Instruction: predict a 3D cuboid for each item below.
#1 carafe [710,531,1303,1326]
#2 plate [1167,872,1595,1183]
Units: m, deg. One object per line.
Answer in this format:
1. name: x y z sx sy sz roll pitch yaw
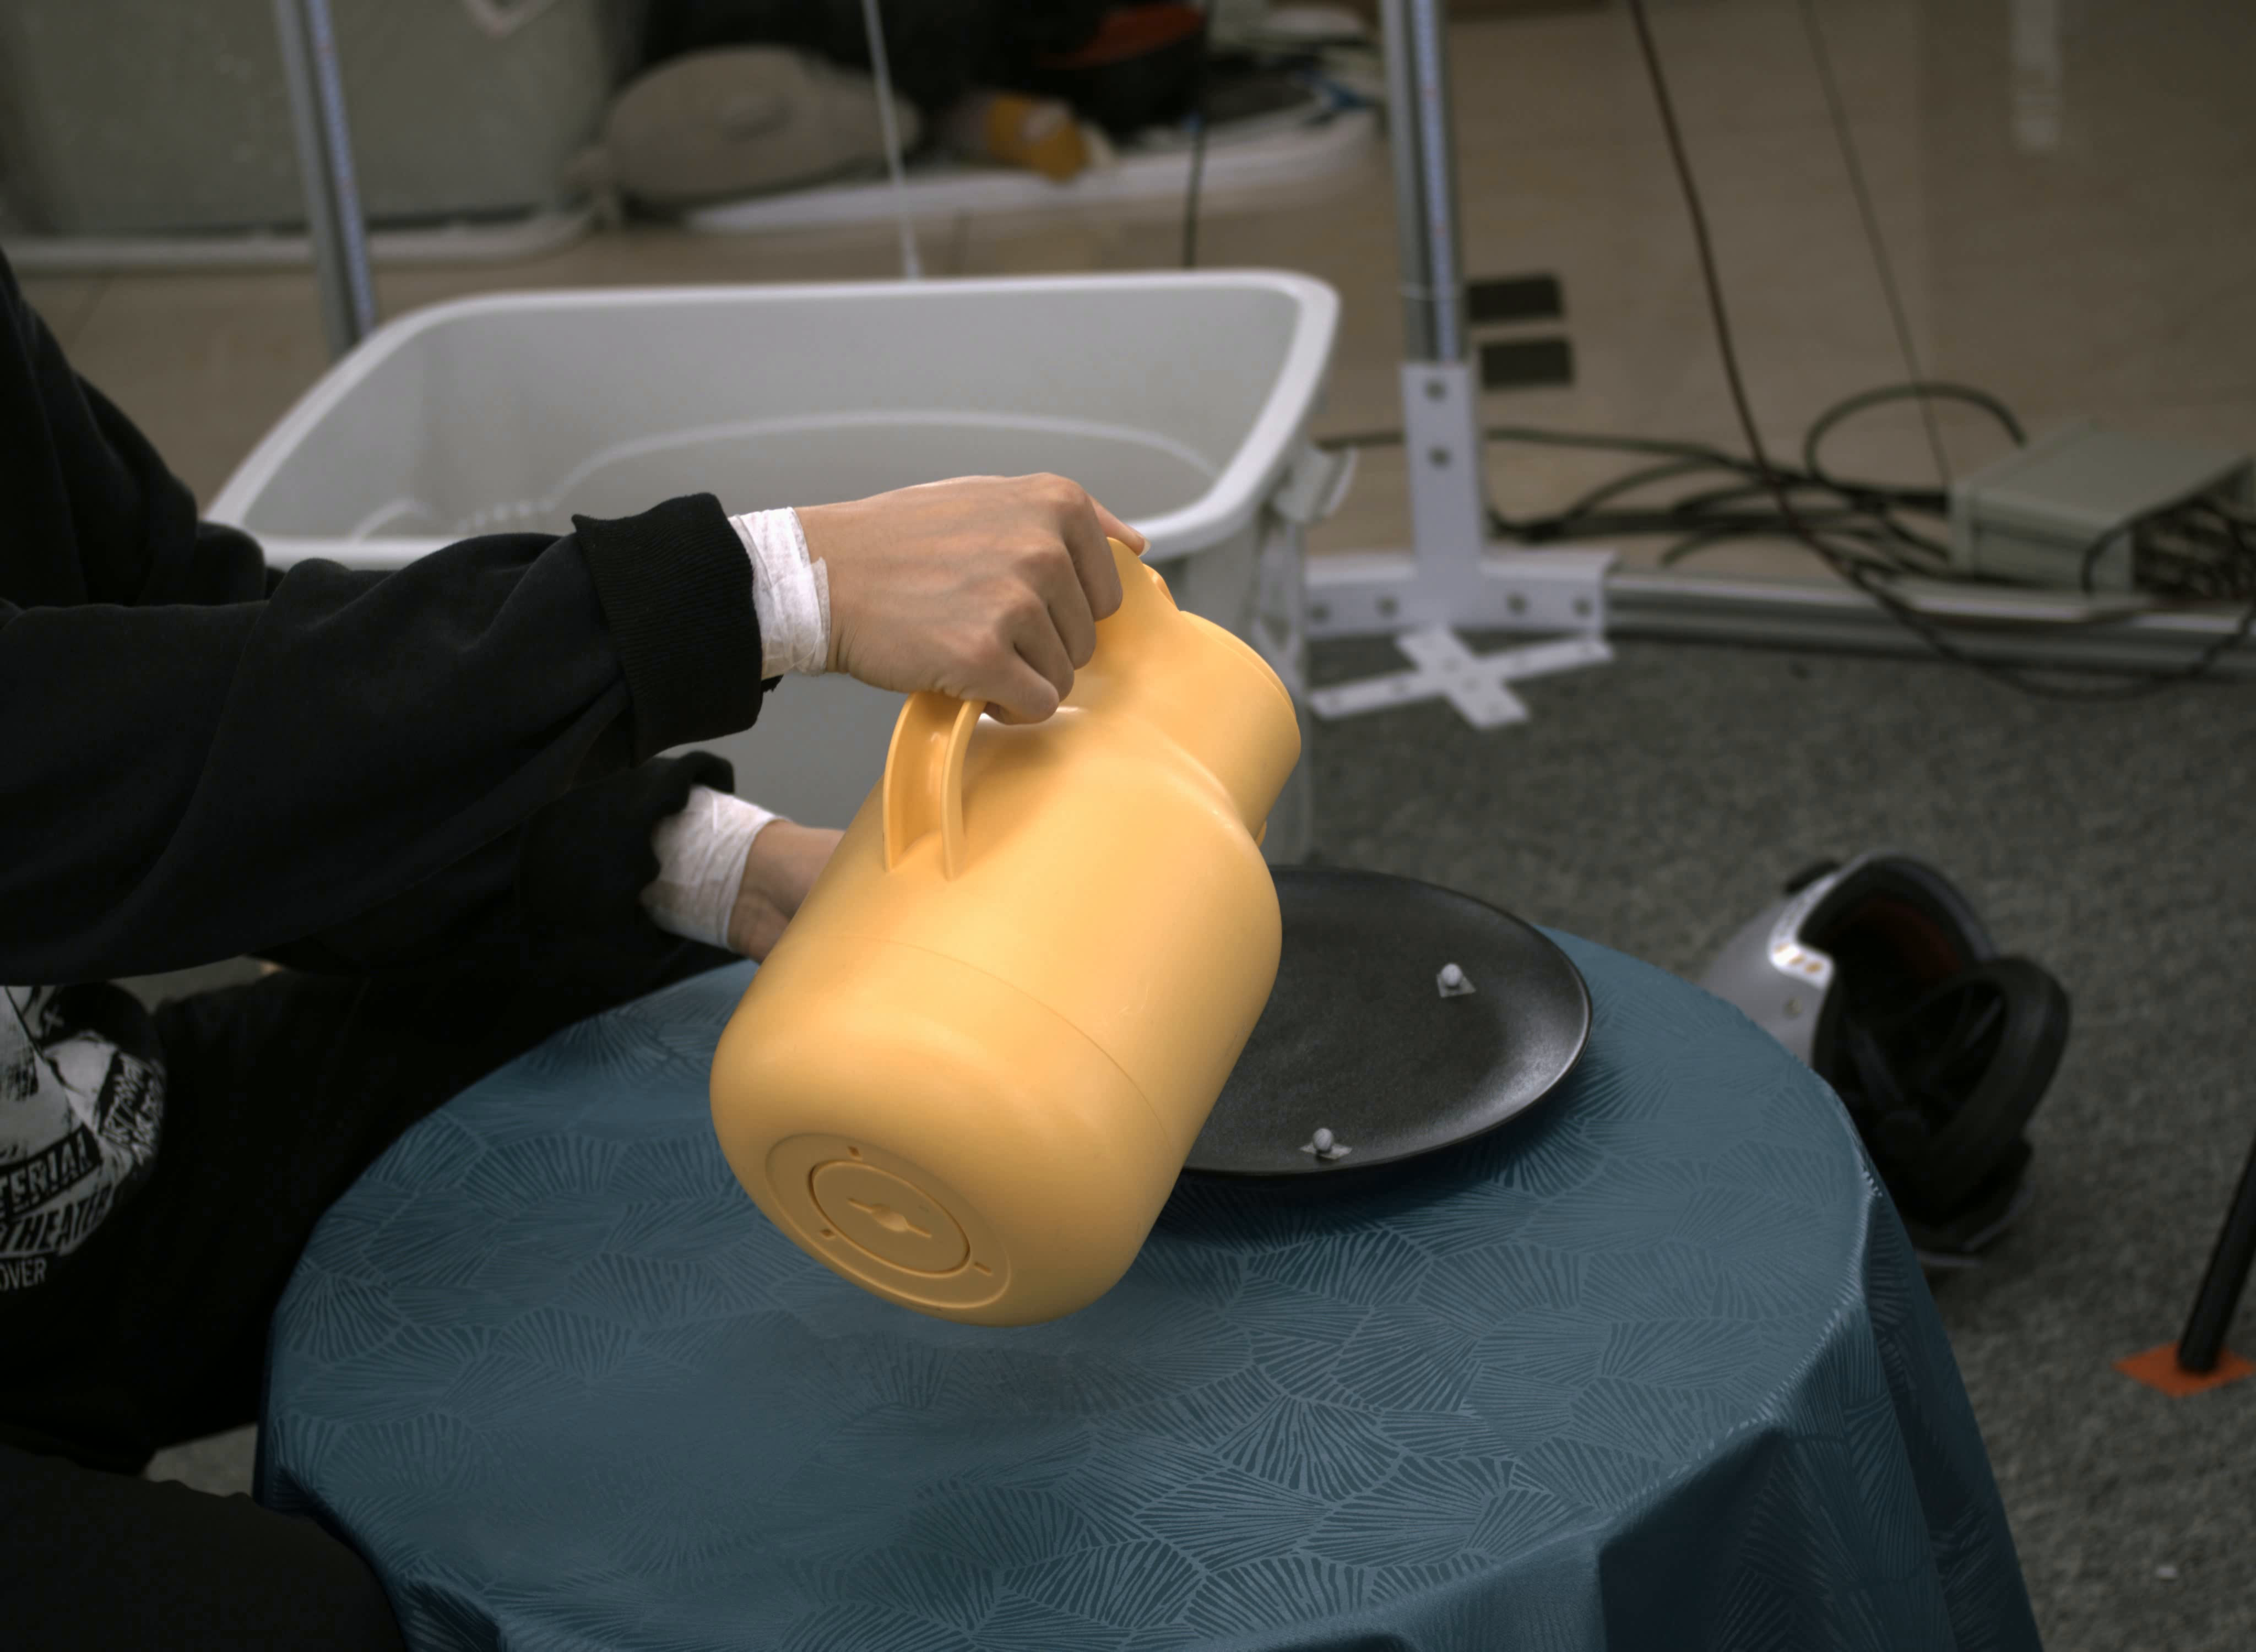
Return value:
1. carafe: -0.037 0.026 1.994 0.163 0.206 0.256 5 50 32
2. plate: 0.060 0.082 2.211 0.244 0.024 0.240 -1 28 1
